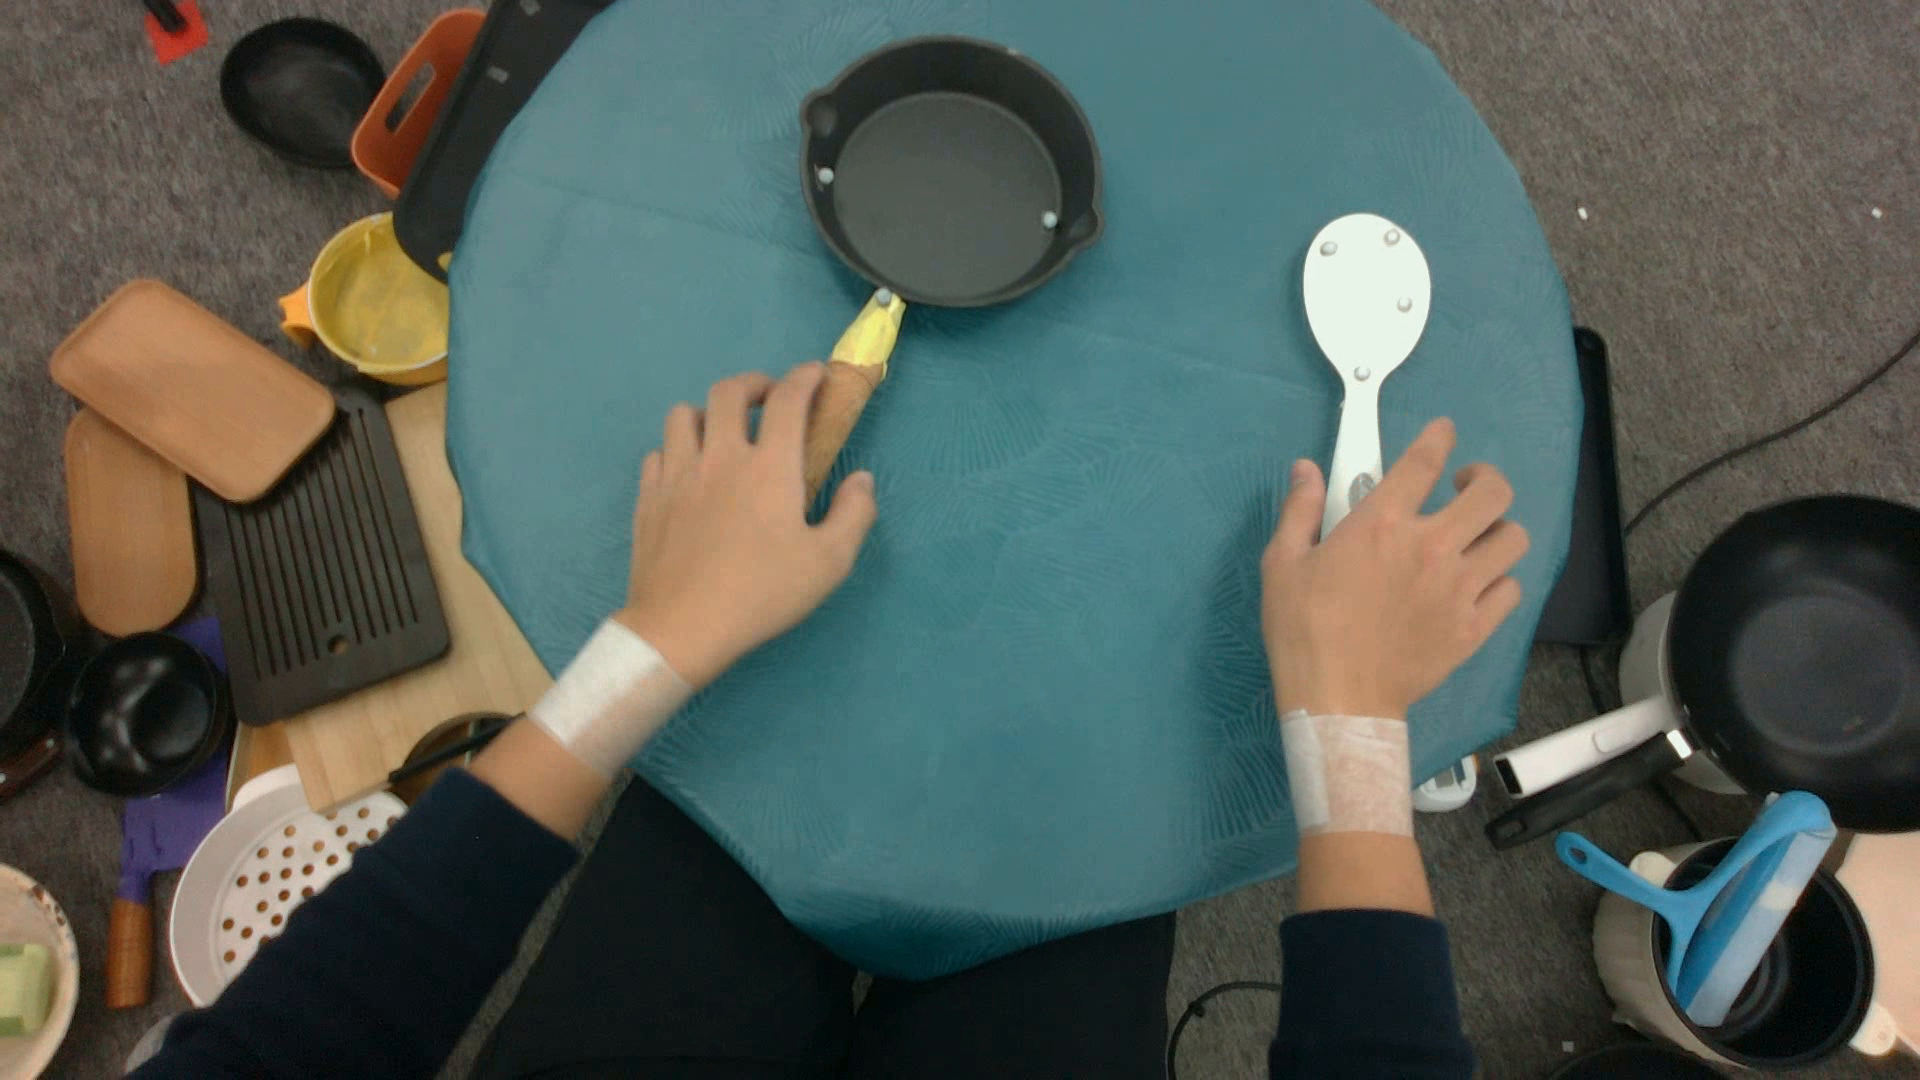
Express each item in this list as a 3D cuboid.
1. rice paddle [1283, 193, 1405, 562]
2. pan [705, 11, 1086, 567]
[{"bbox_3d":[0.200,-0.091,0.724,0.069,0.029,0.205,8,76,-6],"label":"rice paddle"},{"bbox_3d":[-0.049,-0.129,0.695,0.169,0.049,0.325,26,73,0],"label":"pan"}]
